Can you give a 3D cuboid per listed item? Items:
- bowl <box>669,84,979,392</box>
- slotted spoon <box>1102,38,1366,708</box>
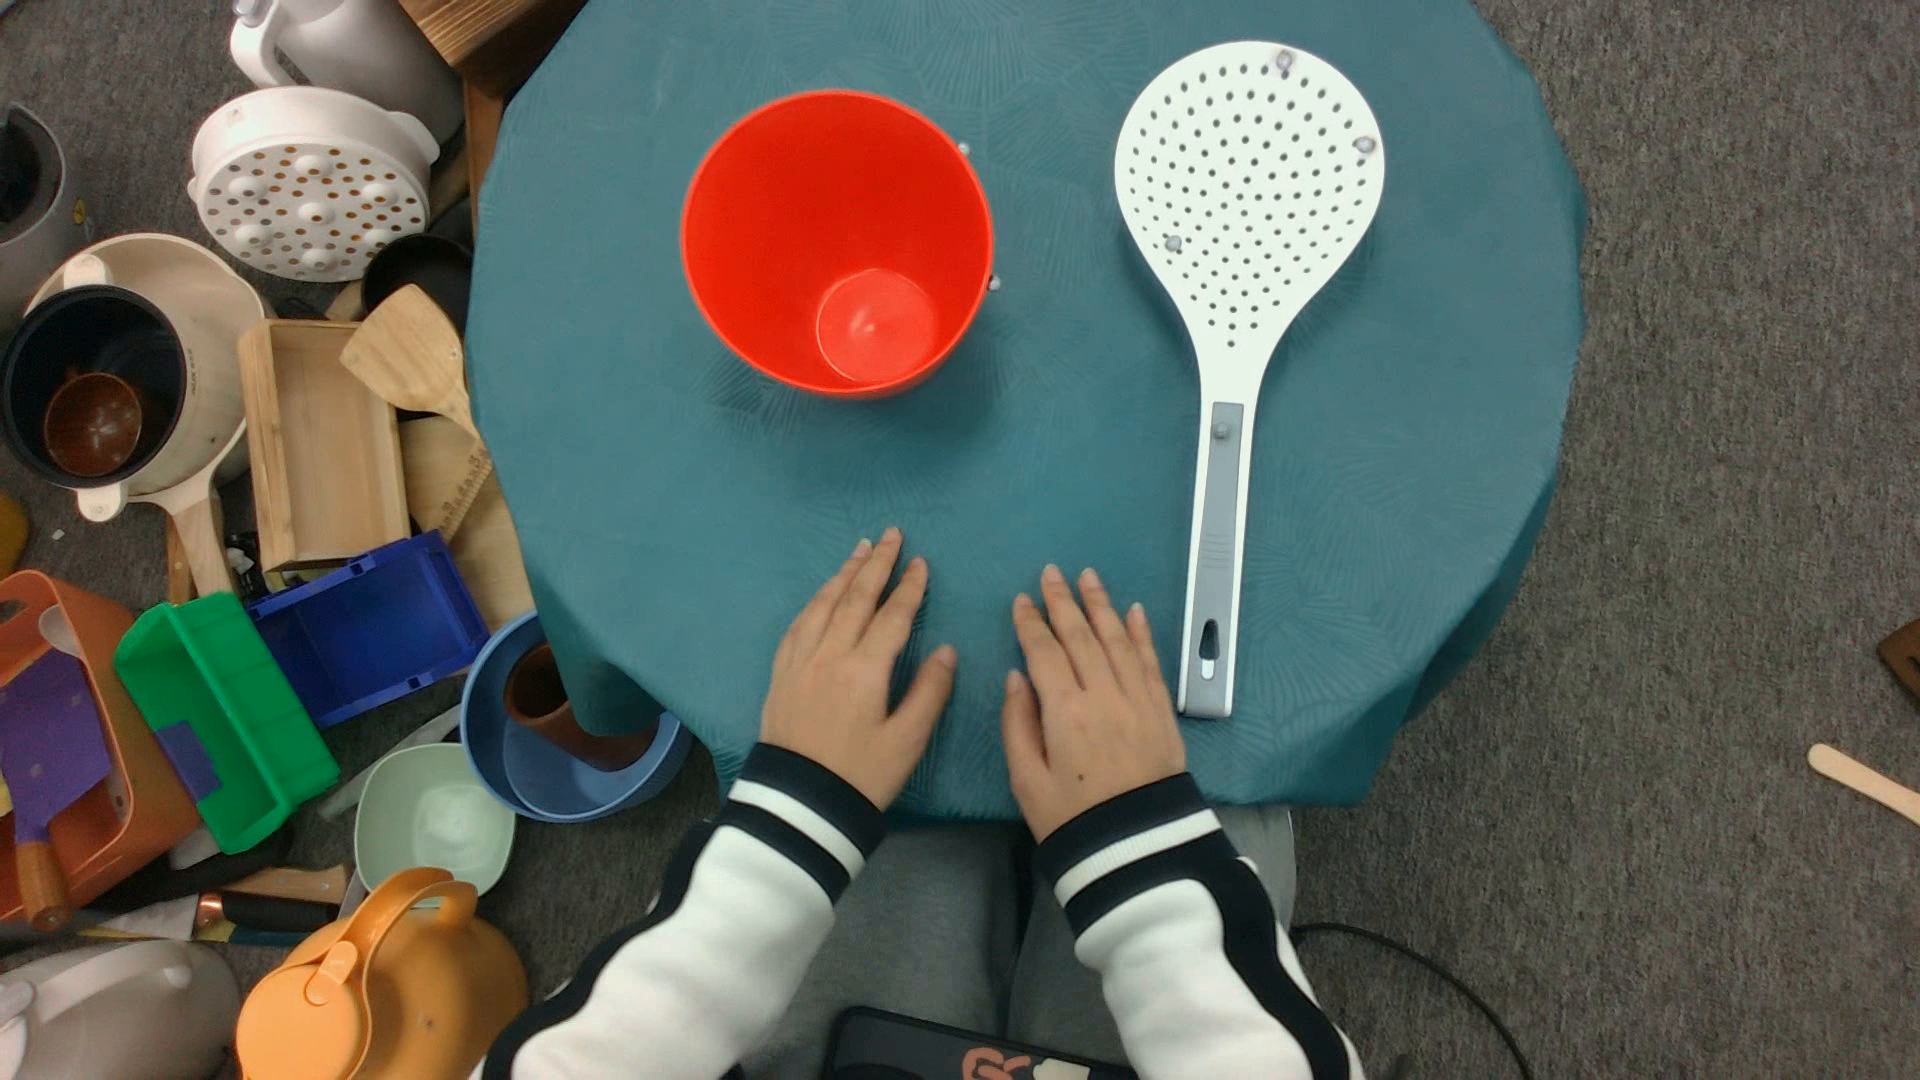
[{"bbox_3d":[-0.063,-0.138,0.697,0.148,0.104,0.148,0,76,0],"label":"bowl"},{"bbox_3d":[0.131,-0.090,0.704,0.136,0.045,0.350,5,76,5],"label":"slotted spoon"}]
